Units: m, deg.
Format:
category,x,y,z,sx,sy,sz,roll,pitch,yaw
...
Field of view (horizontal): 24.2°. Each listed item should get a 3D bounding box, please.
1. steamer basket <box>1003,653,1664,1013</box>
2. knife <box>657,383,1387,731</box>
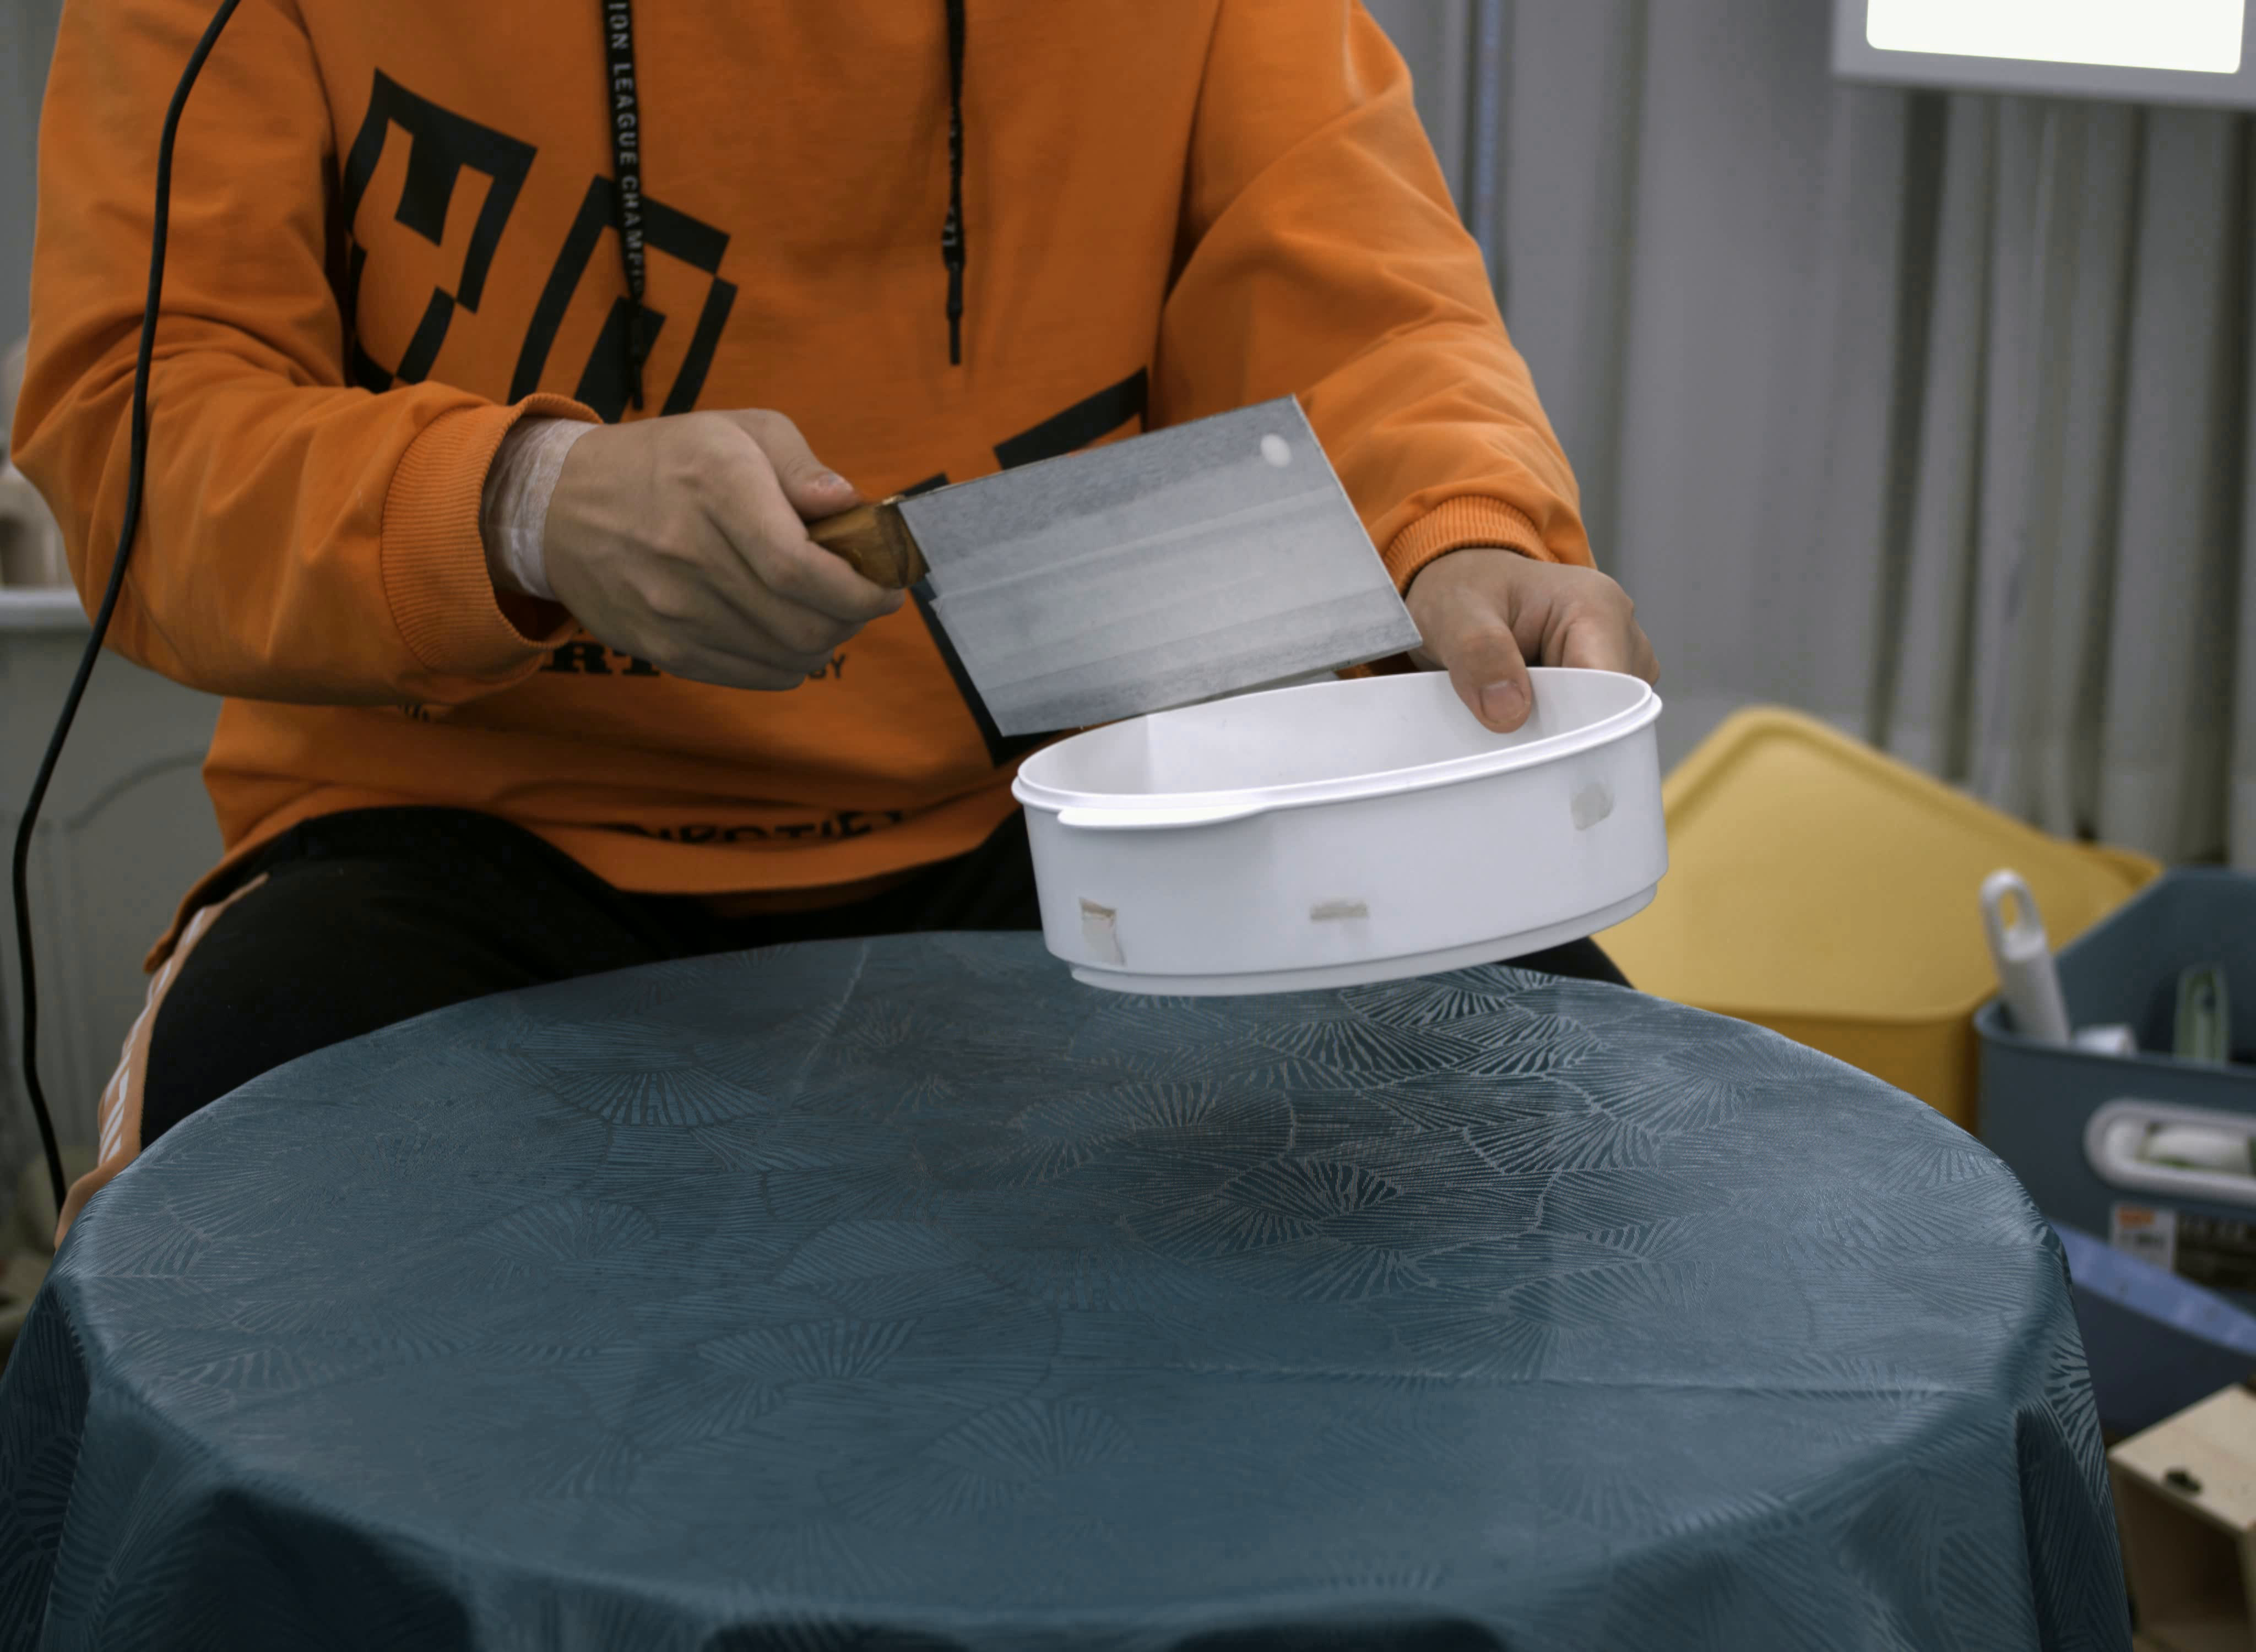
category,x,y,z,sx,sy,sz,roll,pitch,yaw
steamer basket,0.065,0.002,1.609,0.199,0.070,0.231,0,16,34
knife,-0.036,-0.074,1.689,0.303,0.094,0.021,-12,25,45
